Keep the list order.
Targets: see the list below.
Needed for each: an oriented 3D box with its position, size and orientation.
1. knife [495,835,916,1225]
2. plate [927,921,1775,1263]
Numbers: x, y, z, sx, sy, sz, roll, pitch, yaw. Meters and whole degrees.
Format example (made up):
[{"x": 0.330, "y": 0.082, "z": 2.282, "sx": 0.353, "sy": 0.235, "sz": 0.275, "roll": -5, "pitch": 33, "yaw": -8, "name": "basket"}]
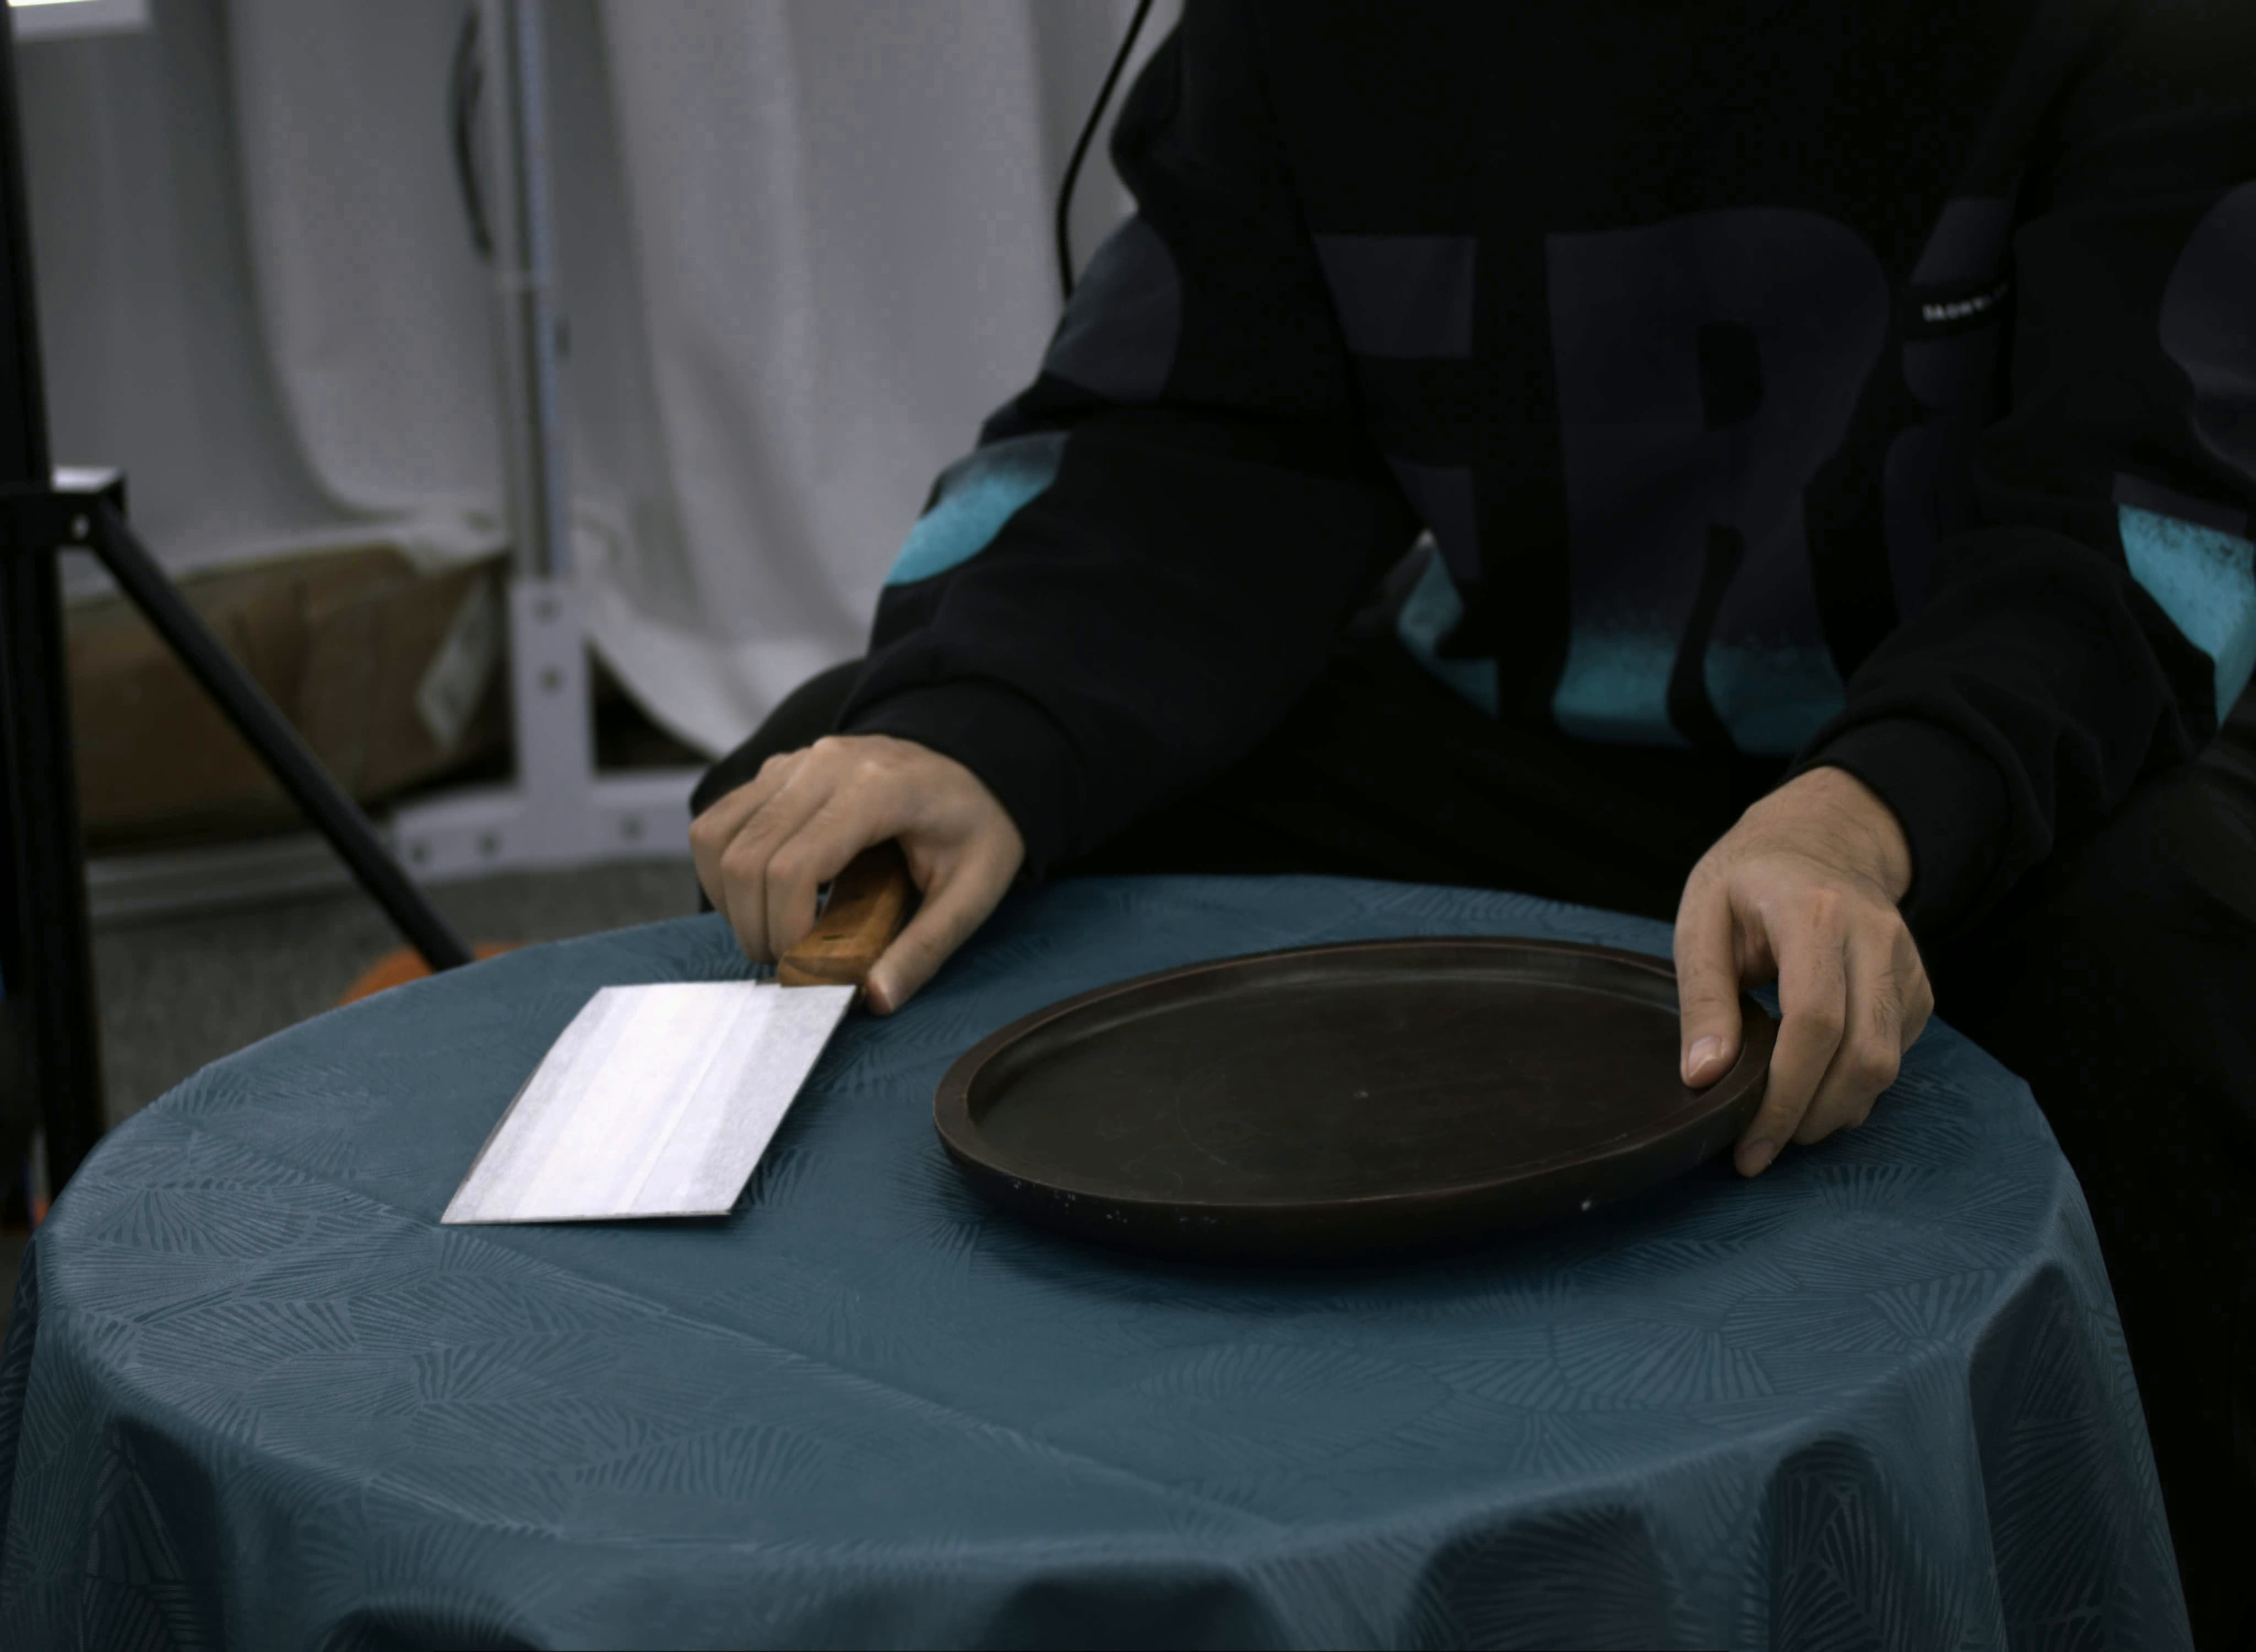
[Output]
[{"x": -0.133, "y": 0.063, "z": 1.693, "sx": 0.093, "sy": 0.021, "sz": 0.305, "roll": -3, "pitch": 19, "yaw": 11, "name": "knife"}, {"x": 0.066, "y": 0.079, "z": 1.578, "sx": 0.254, "sy": 0.029, "sz": 0.256, "roll": -8, "pitch": 15, "yaw": 1, "name": "plate"}]
